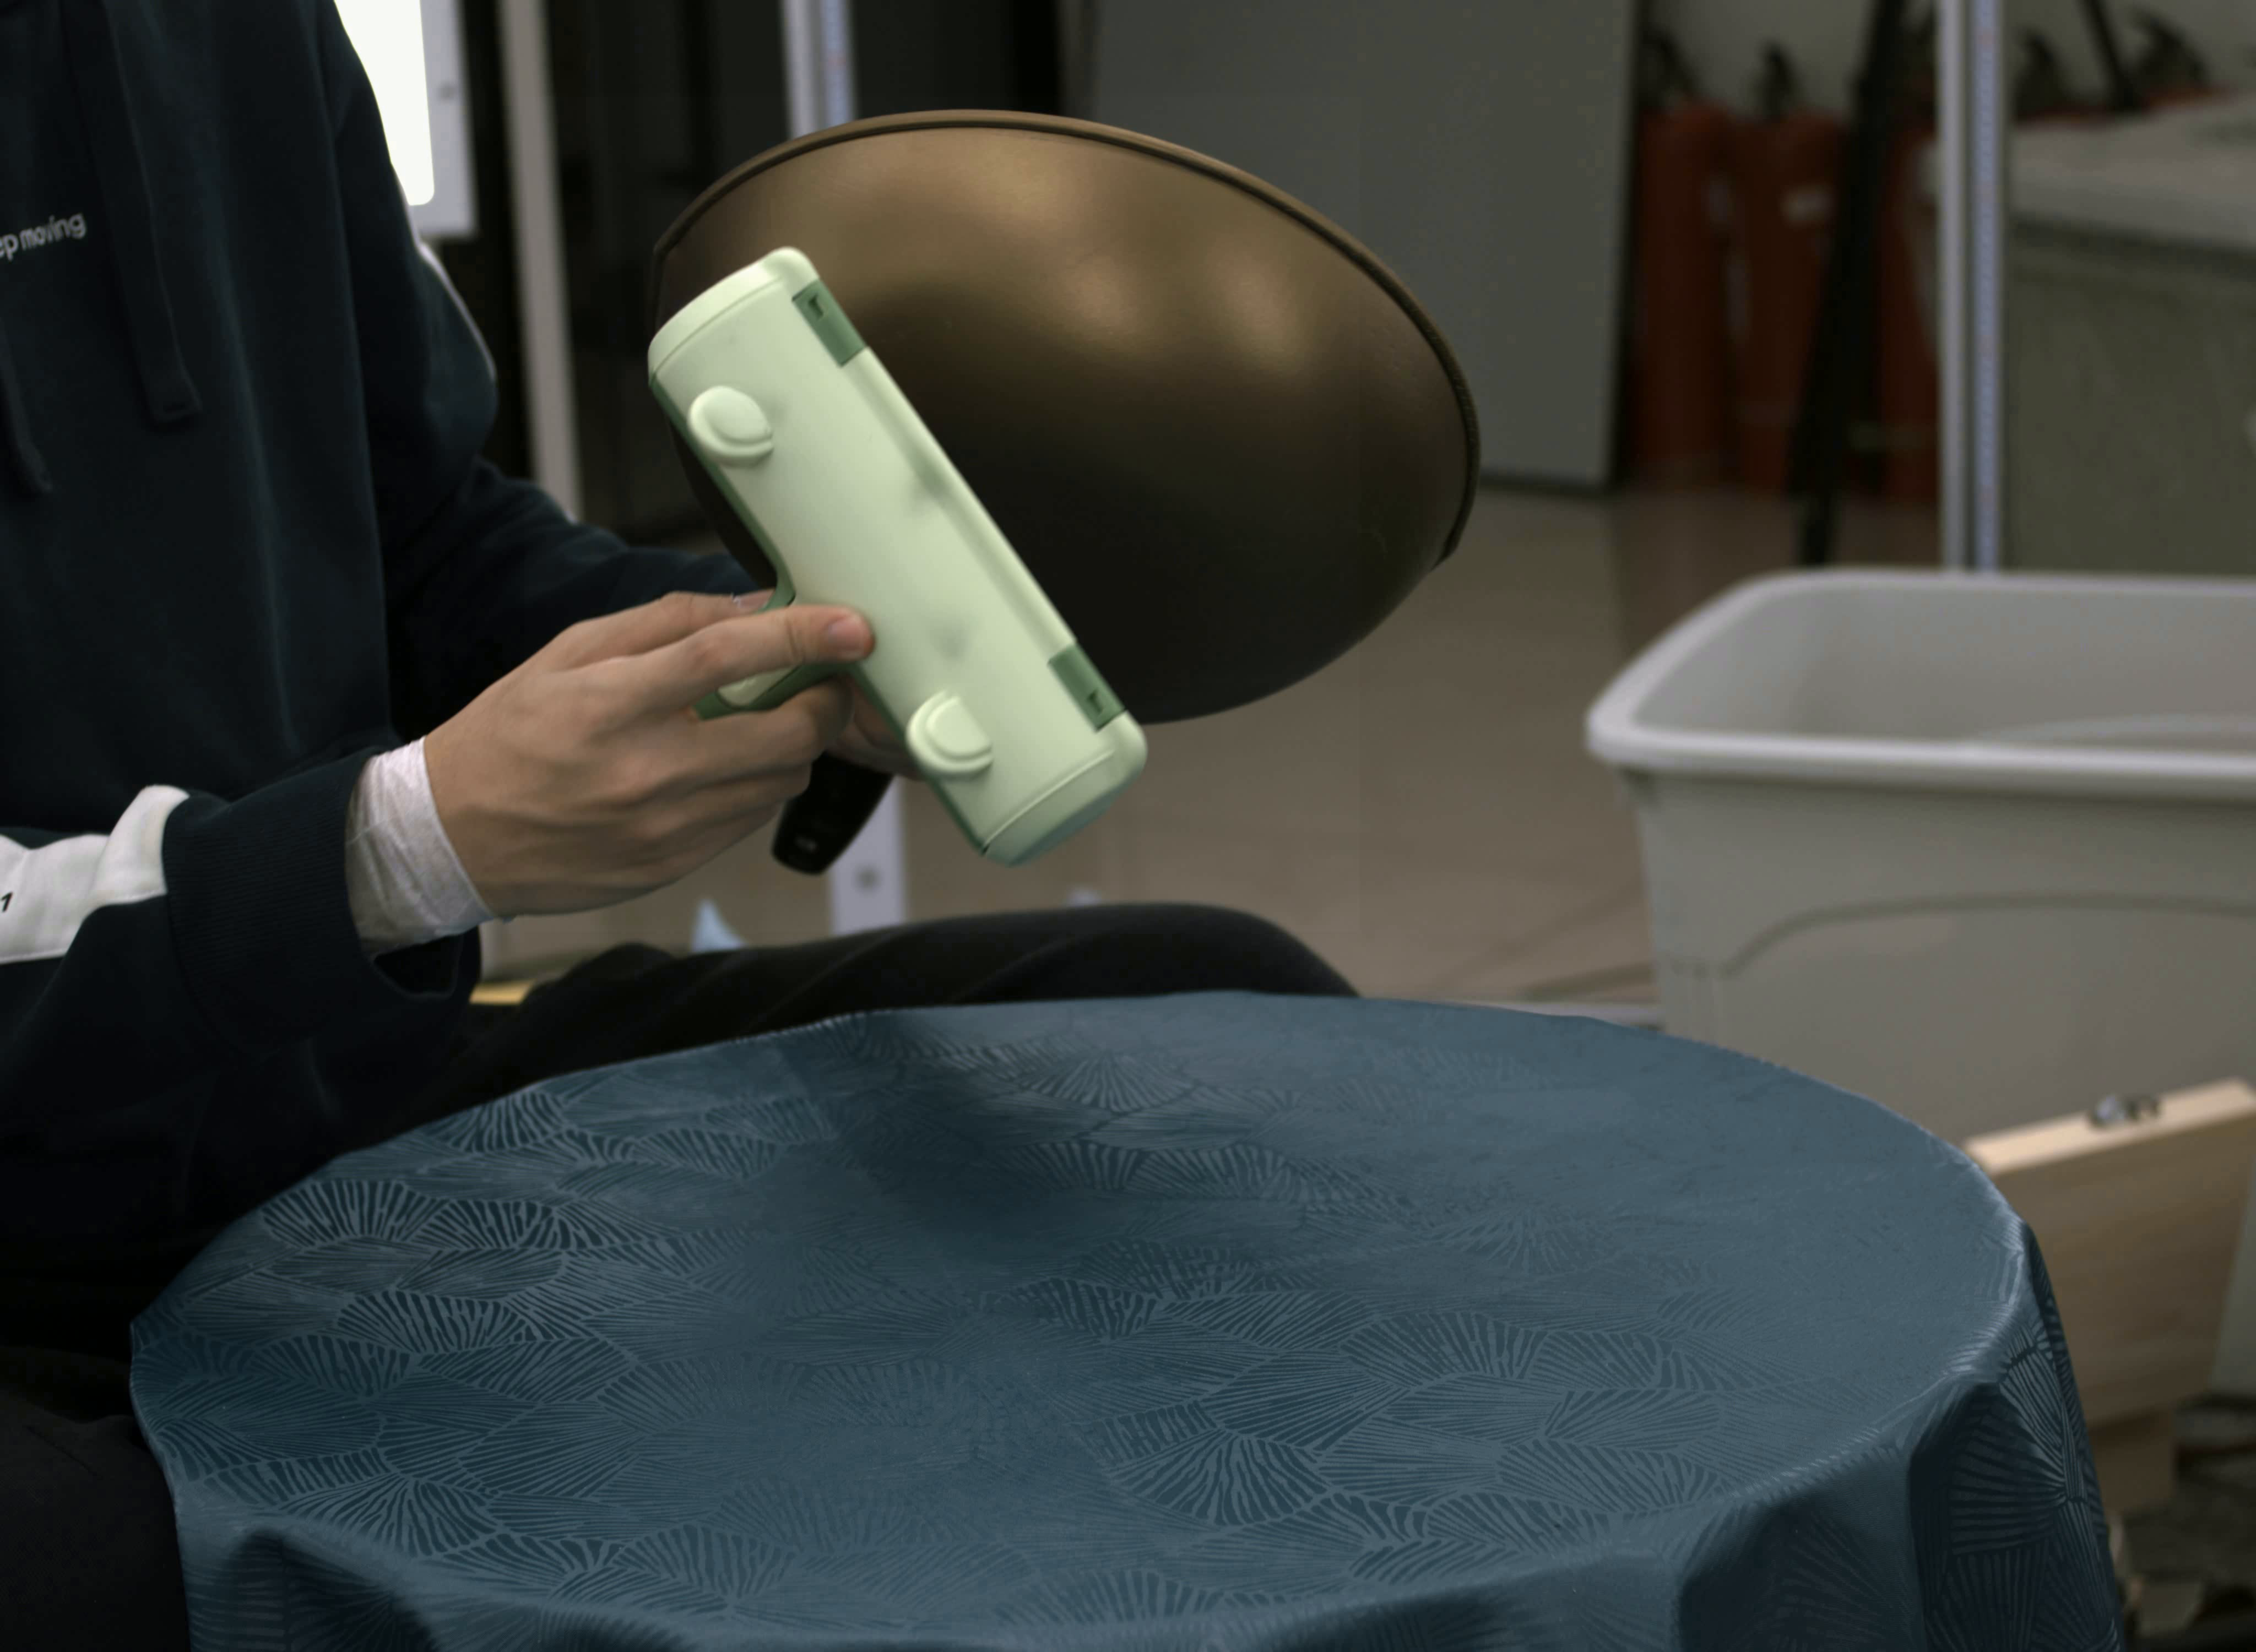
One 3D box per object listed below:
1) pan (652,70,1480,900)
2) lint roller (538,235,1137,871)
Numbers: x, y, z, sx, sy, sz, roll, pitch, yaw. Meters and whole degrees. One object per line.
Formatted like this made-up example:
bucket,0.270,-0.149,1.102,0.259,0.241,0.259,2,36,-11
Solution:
pan,-0.058,-0.072,1.844,0.284,0.467,0.087,21,55,-8
lint roller,-0.118,-0.047,1.632,0.184,0.200,0.081,-37,-8,15
